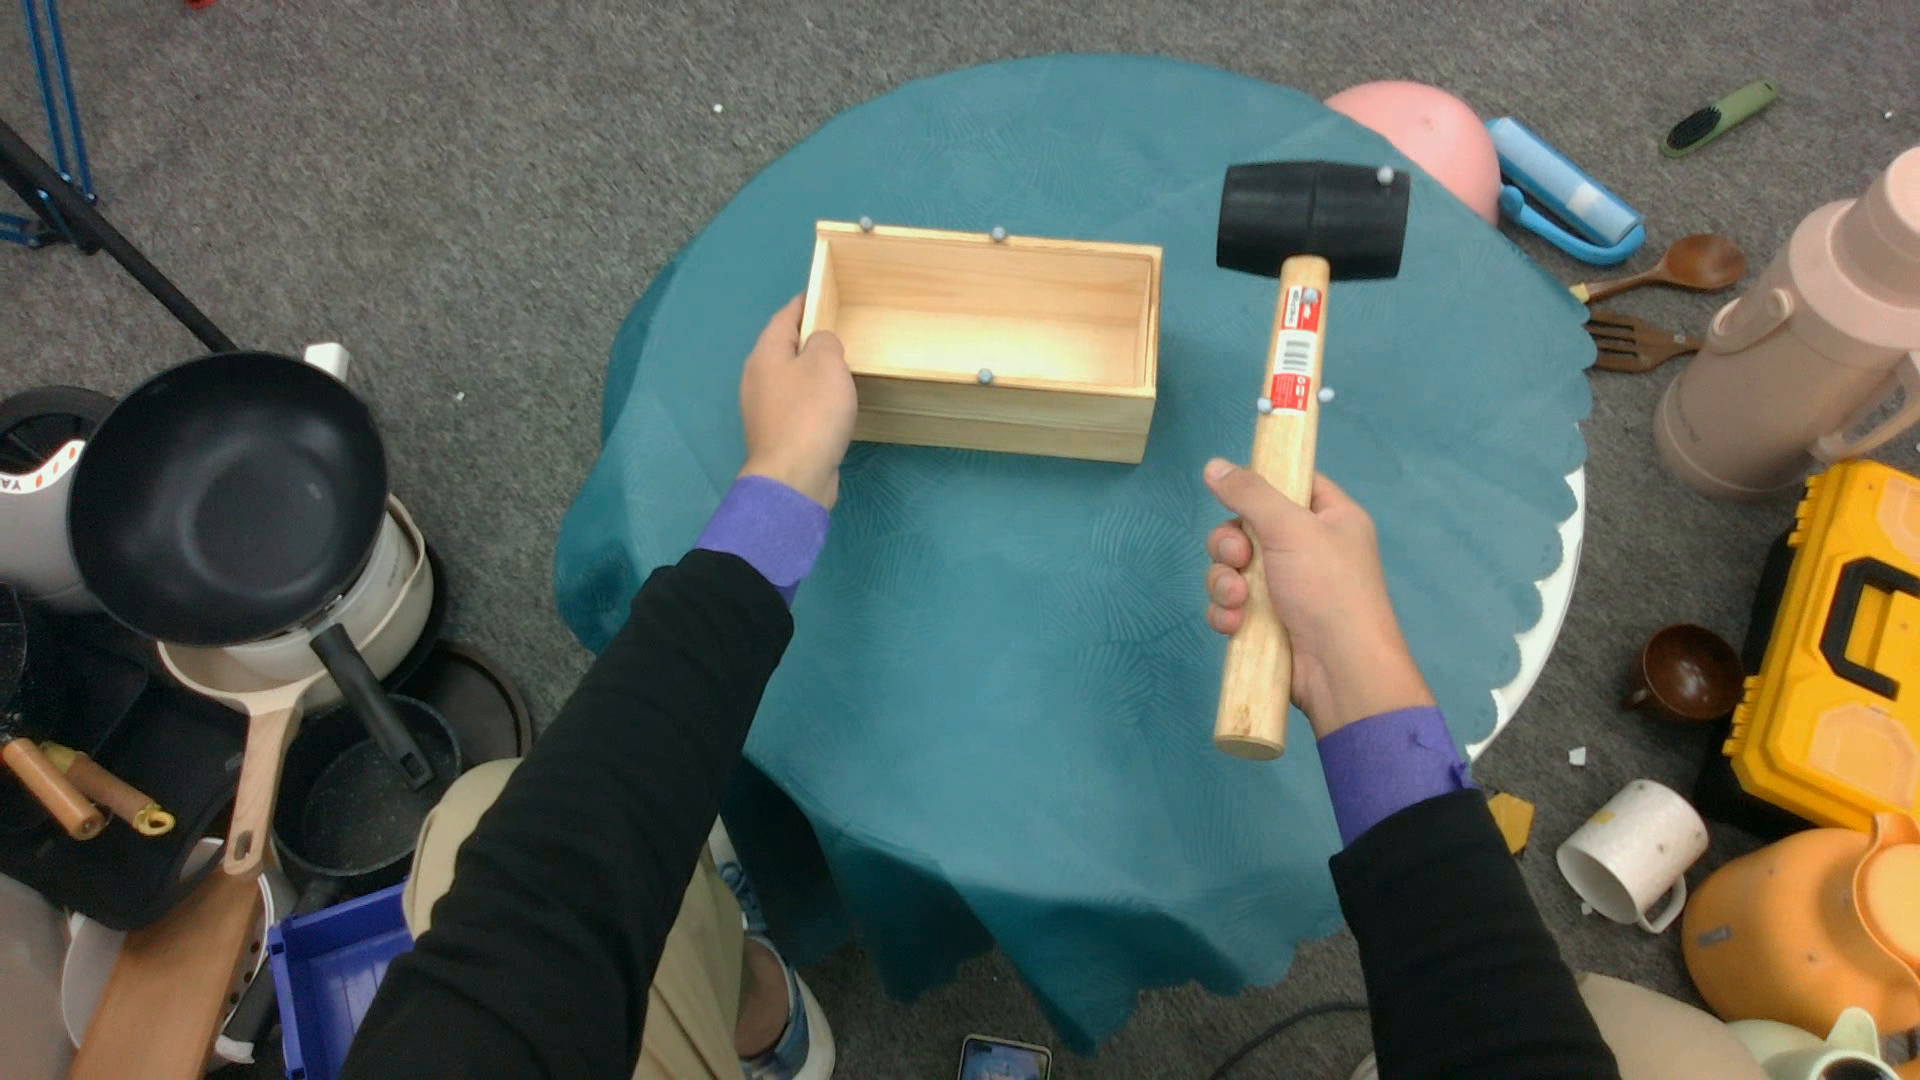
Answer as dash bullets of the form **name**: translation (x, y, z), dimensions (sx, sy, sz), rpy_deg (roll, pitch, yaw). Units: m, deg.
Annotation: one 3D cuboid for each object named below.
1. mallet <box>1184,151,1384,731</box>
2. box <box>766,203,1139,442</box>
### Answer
- **mallet**: translation (0.154, -0.068, 0.706), dimensions (0.102, 0.064, 0.340), rpy_deg (6, 60, 14)
- **box**: translation (-0.002, -0.132, 0.842), dimensions (0.211, 0.080, 0.108), rpy_deg (4, 66, 2)
